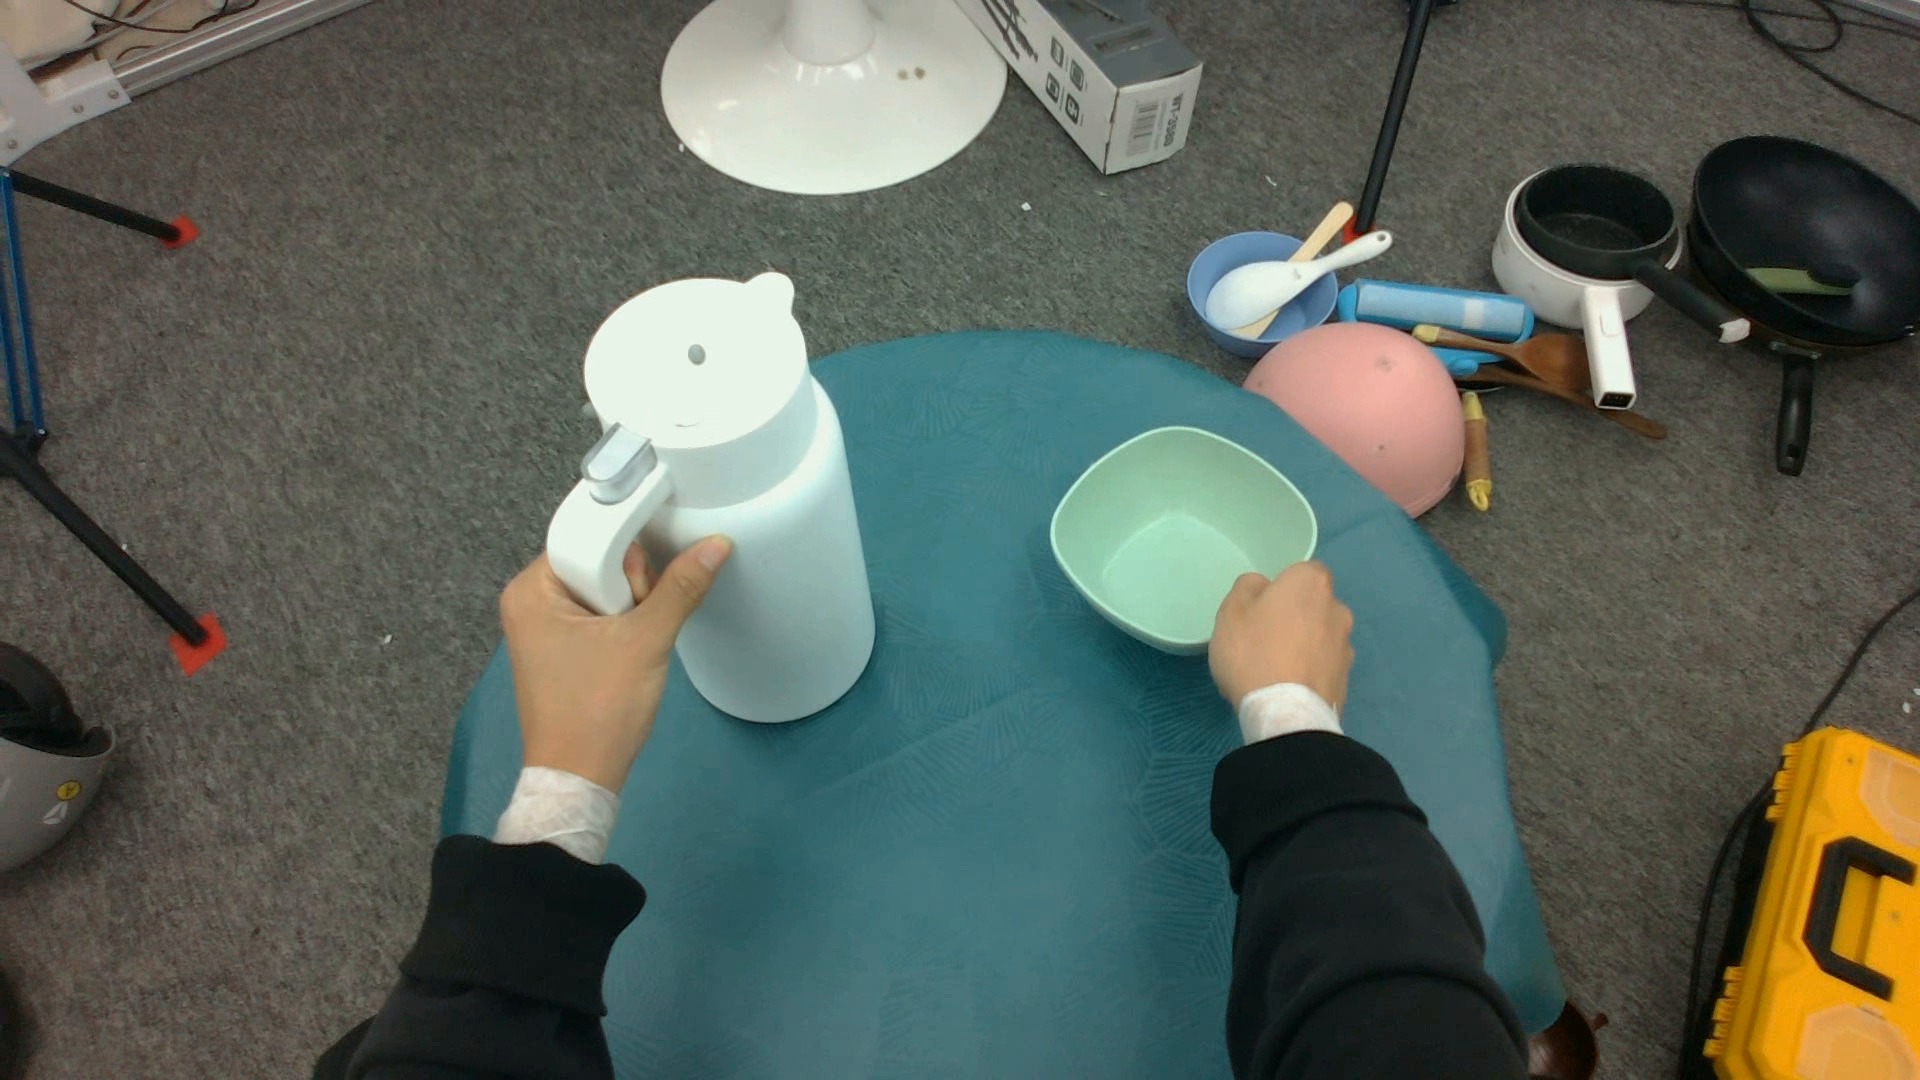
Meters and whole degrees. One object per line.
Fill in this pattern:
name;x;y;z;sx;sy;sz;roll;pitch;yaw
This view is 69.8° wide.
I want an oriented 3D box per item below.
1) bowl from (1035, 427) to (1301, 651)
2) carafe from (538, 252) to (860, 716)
bowl;0.121;0.008;0.810;0.151;0.058;0.152;-3;54;5
carafe;-0.128;-0.001;0.716;0.124;0.267;0.173;24;61;14
